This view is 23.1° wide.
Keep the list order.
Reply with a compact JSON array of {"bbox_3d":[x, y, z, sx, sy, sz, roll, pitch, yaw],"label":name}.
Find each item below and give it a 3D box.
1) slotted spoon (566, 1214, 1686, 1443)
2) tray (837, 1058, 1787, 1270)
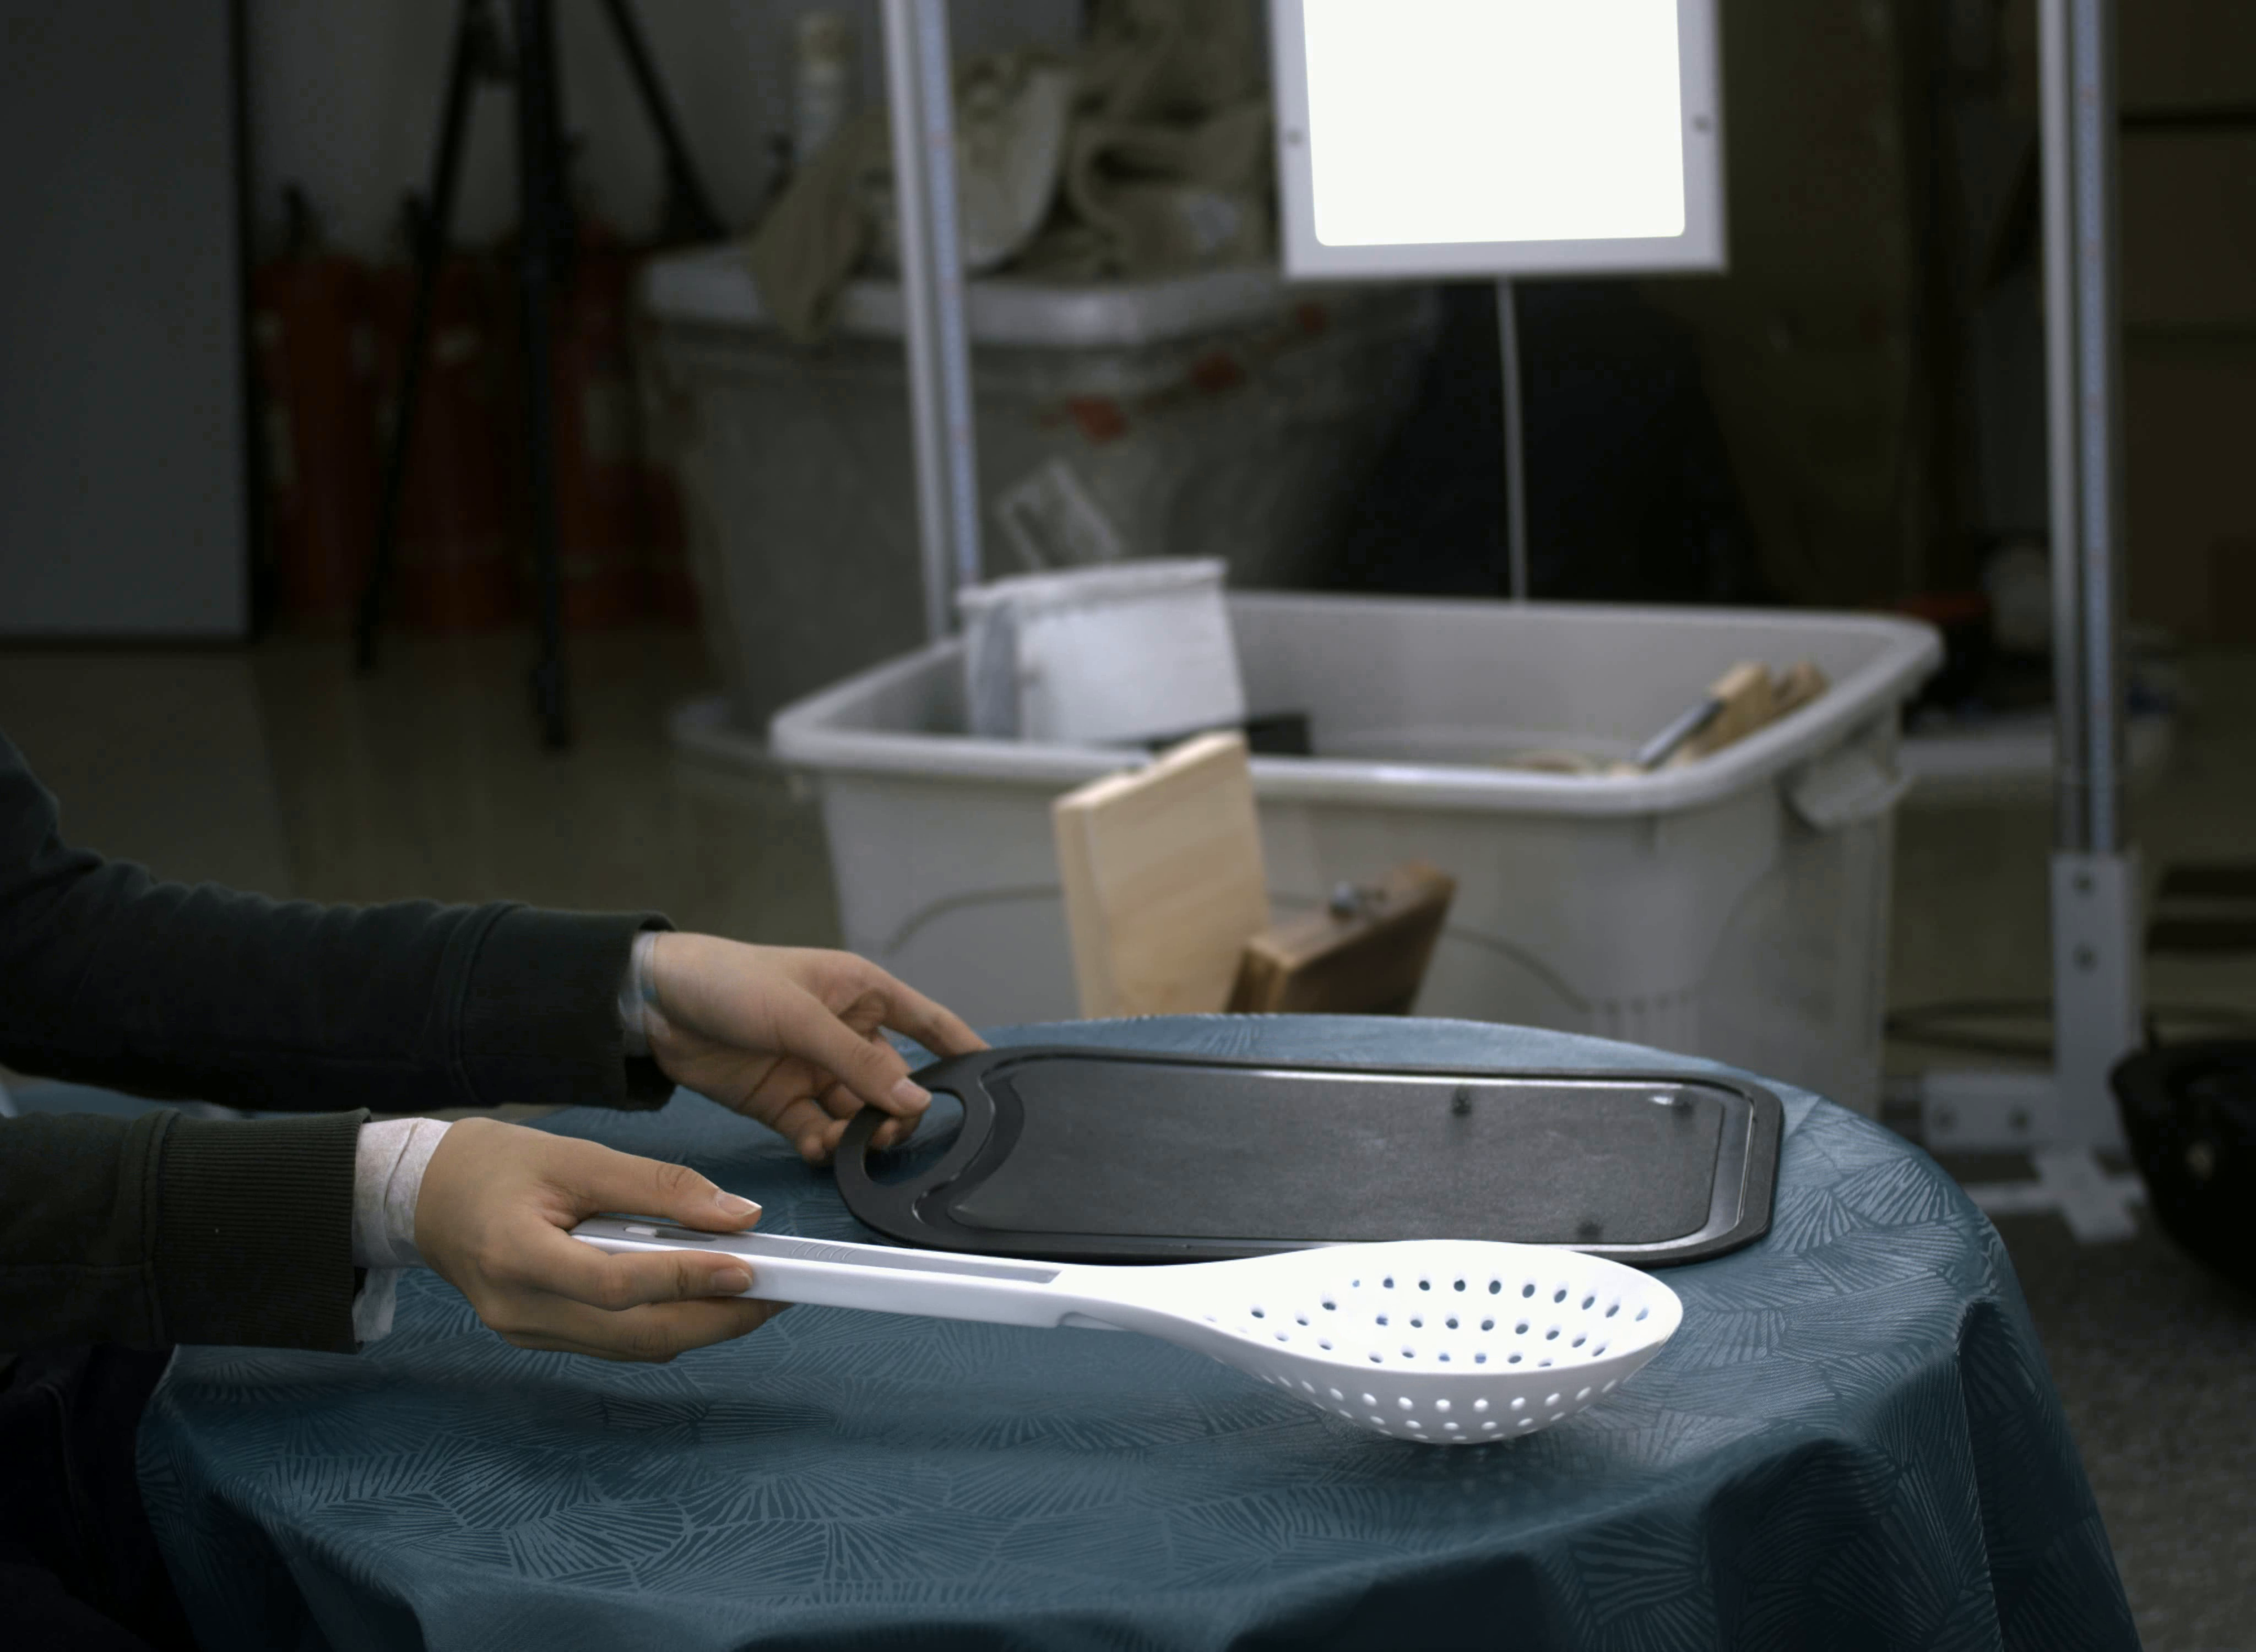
[{"bbox_3d":[-0.005,0.142,1.668,0.353,0.046,0.134,8,13,17],"label":"slotted spoon"},{"bbox_3d":[0.062,0.112,1.891,0.327,0.010,0.209,0,15,11],"label":"tray"}]
